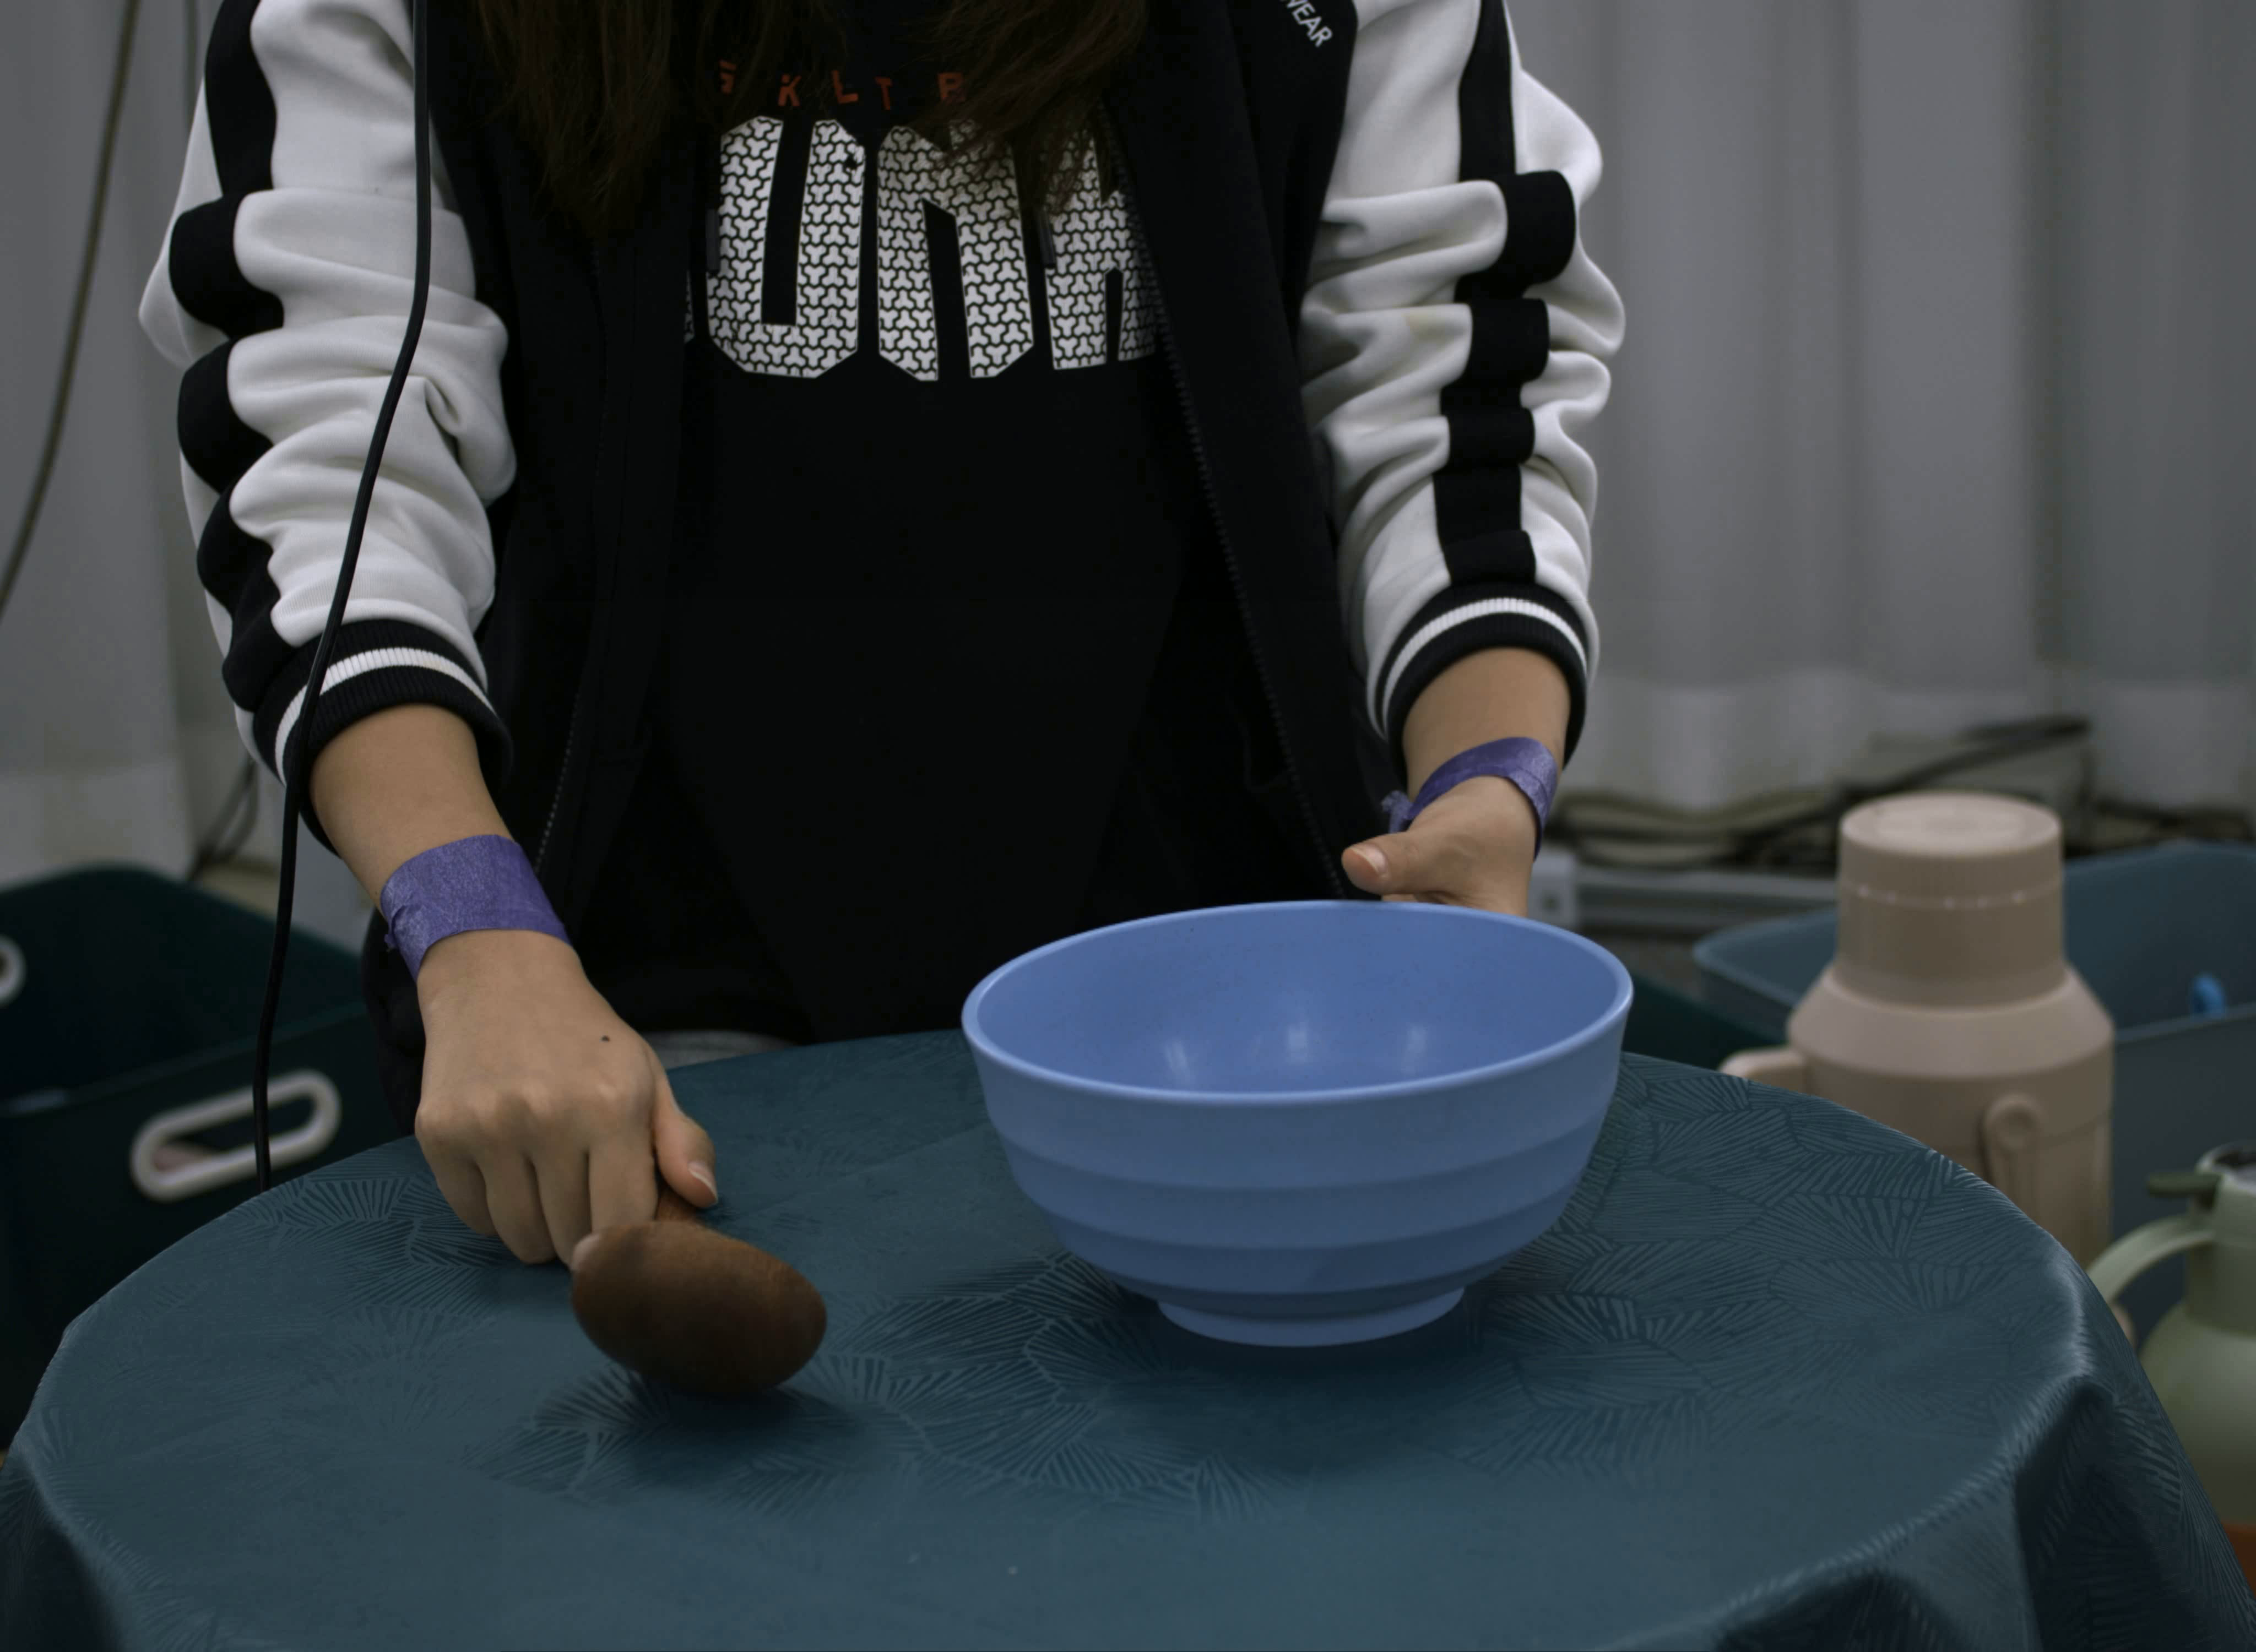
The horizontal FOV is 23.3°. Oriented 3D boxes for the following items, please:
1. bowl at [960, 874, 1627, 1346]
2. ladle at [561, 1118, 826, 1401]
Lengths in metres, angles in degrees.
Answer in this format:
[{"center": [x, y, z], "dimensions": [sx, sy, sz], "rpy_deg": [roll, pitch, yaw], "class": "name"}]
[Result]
[{"center": [0.054, 0.091, 1.611], "dimensions": [0.196, 0.095, 0.198], "rpy_deg": [-7, 18, 2], "class": "bowl"}, {"center": [-0.131, 0.112, 1.631], "dimensions": [0.076, 0.065, 0.262], "rpy_deg": [23, 11, -10], "class": "ladle"}]
